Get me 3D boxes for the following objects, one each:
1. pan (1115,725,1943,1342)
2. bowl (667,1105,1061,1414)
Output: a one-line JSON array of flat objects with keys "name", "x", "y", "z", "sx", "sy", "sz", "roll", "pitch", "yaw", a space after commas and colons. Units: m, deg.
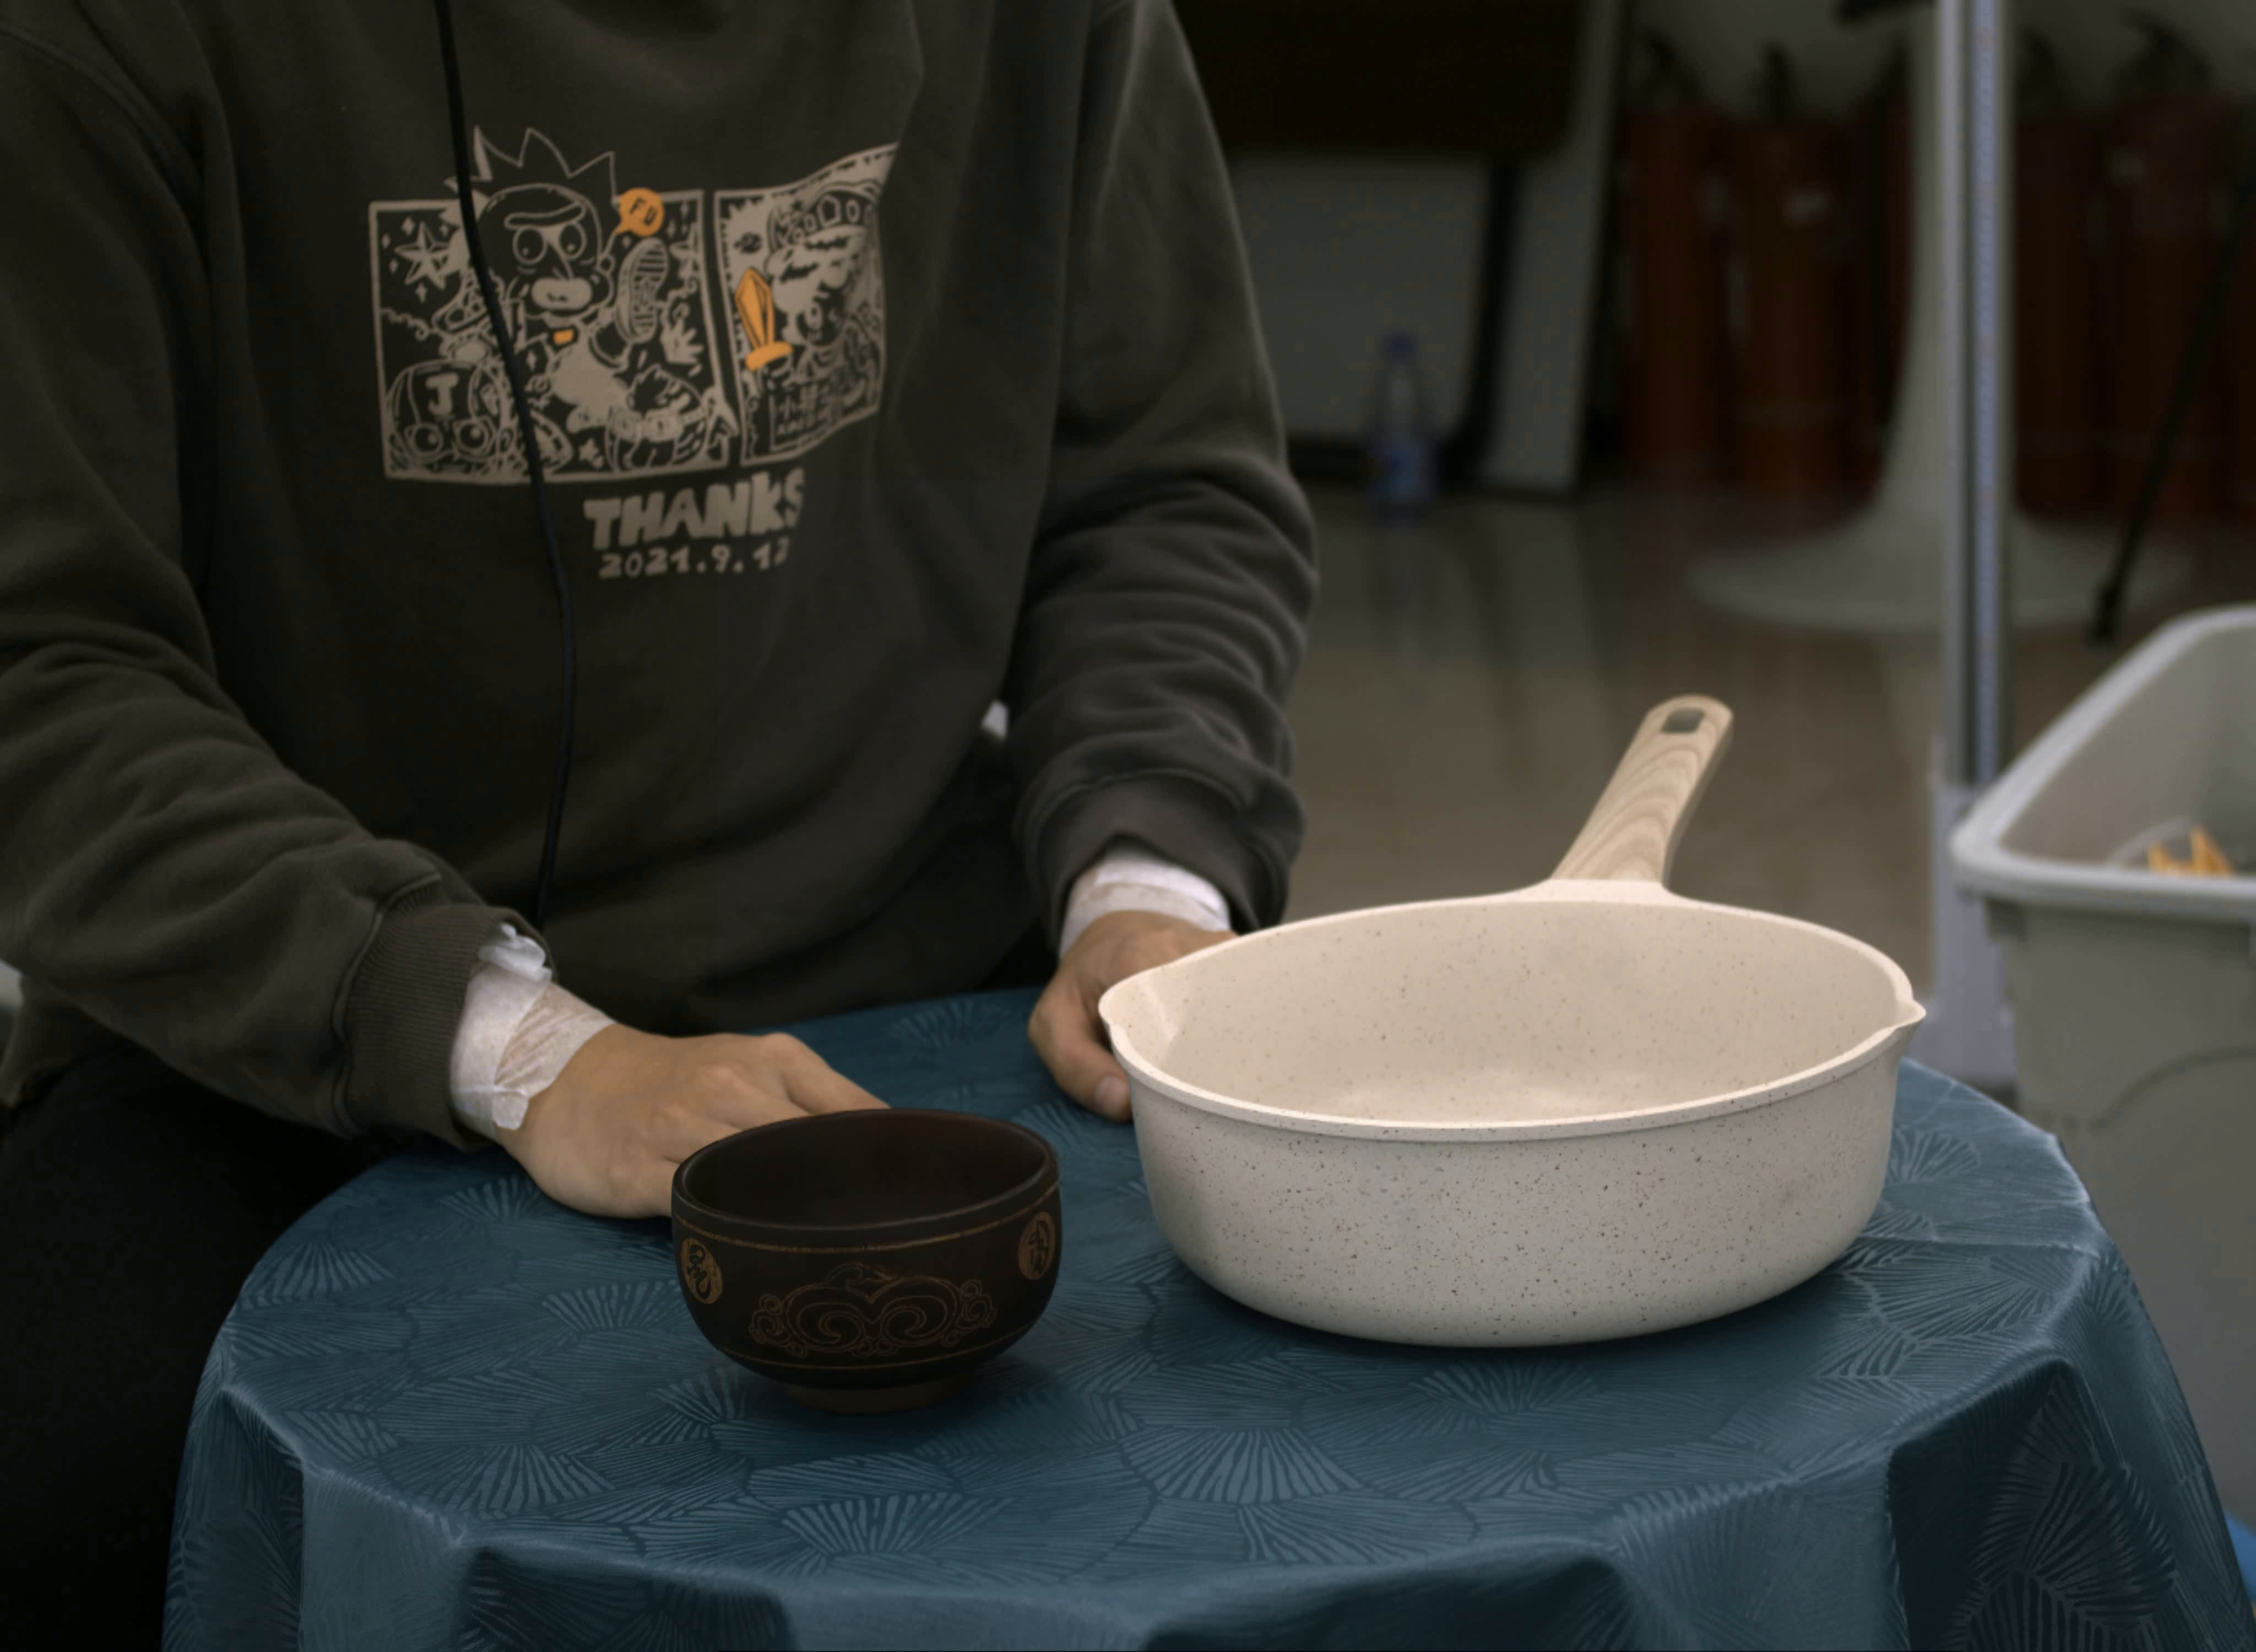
[{"name": "pan", "x": 0.151, "y": 0.064, "z": 1.760, "sx": 0.262, "sy": 0.103, "sz": 0.431, "roll": -2, "pitch": 13, "yaw": 18}, {"name": "bowl", "x": -0.076, "y": 0.132, "z": 1.601, "sx": 0.116, "sy": 0.070, "sz": 0.118, "roll": -6, "pitch": 13, "yaw": 0}]
